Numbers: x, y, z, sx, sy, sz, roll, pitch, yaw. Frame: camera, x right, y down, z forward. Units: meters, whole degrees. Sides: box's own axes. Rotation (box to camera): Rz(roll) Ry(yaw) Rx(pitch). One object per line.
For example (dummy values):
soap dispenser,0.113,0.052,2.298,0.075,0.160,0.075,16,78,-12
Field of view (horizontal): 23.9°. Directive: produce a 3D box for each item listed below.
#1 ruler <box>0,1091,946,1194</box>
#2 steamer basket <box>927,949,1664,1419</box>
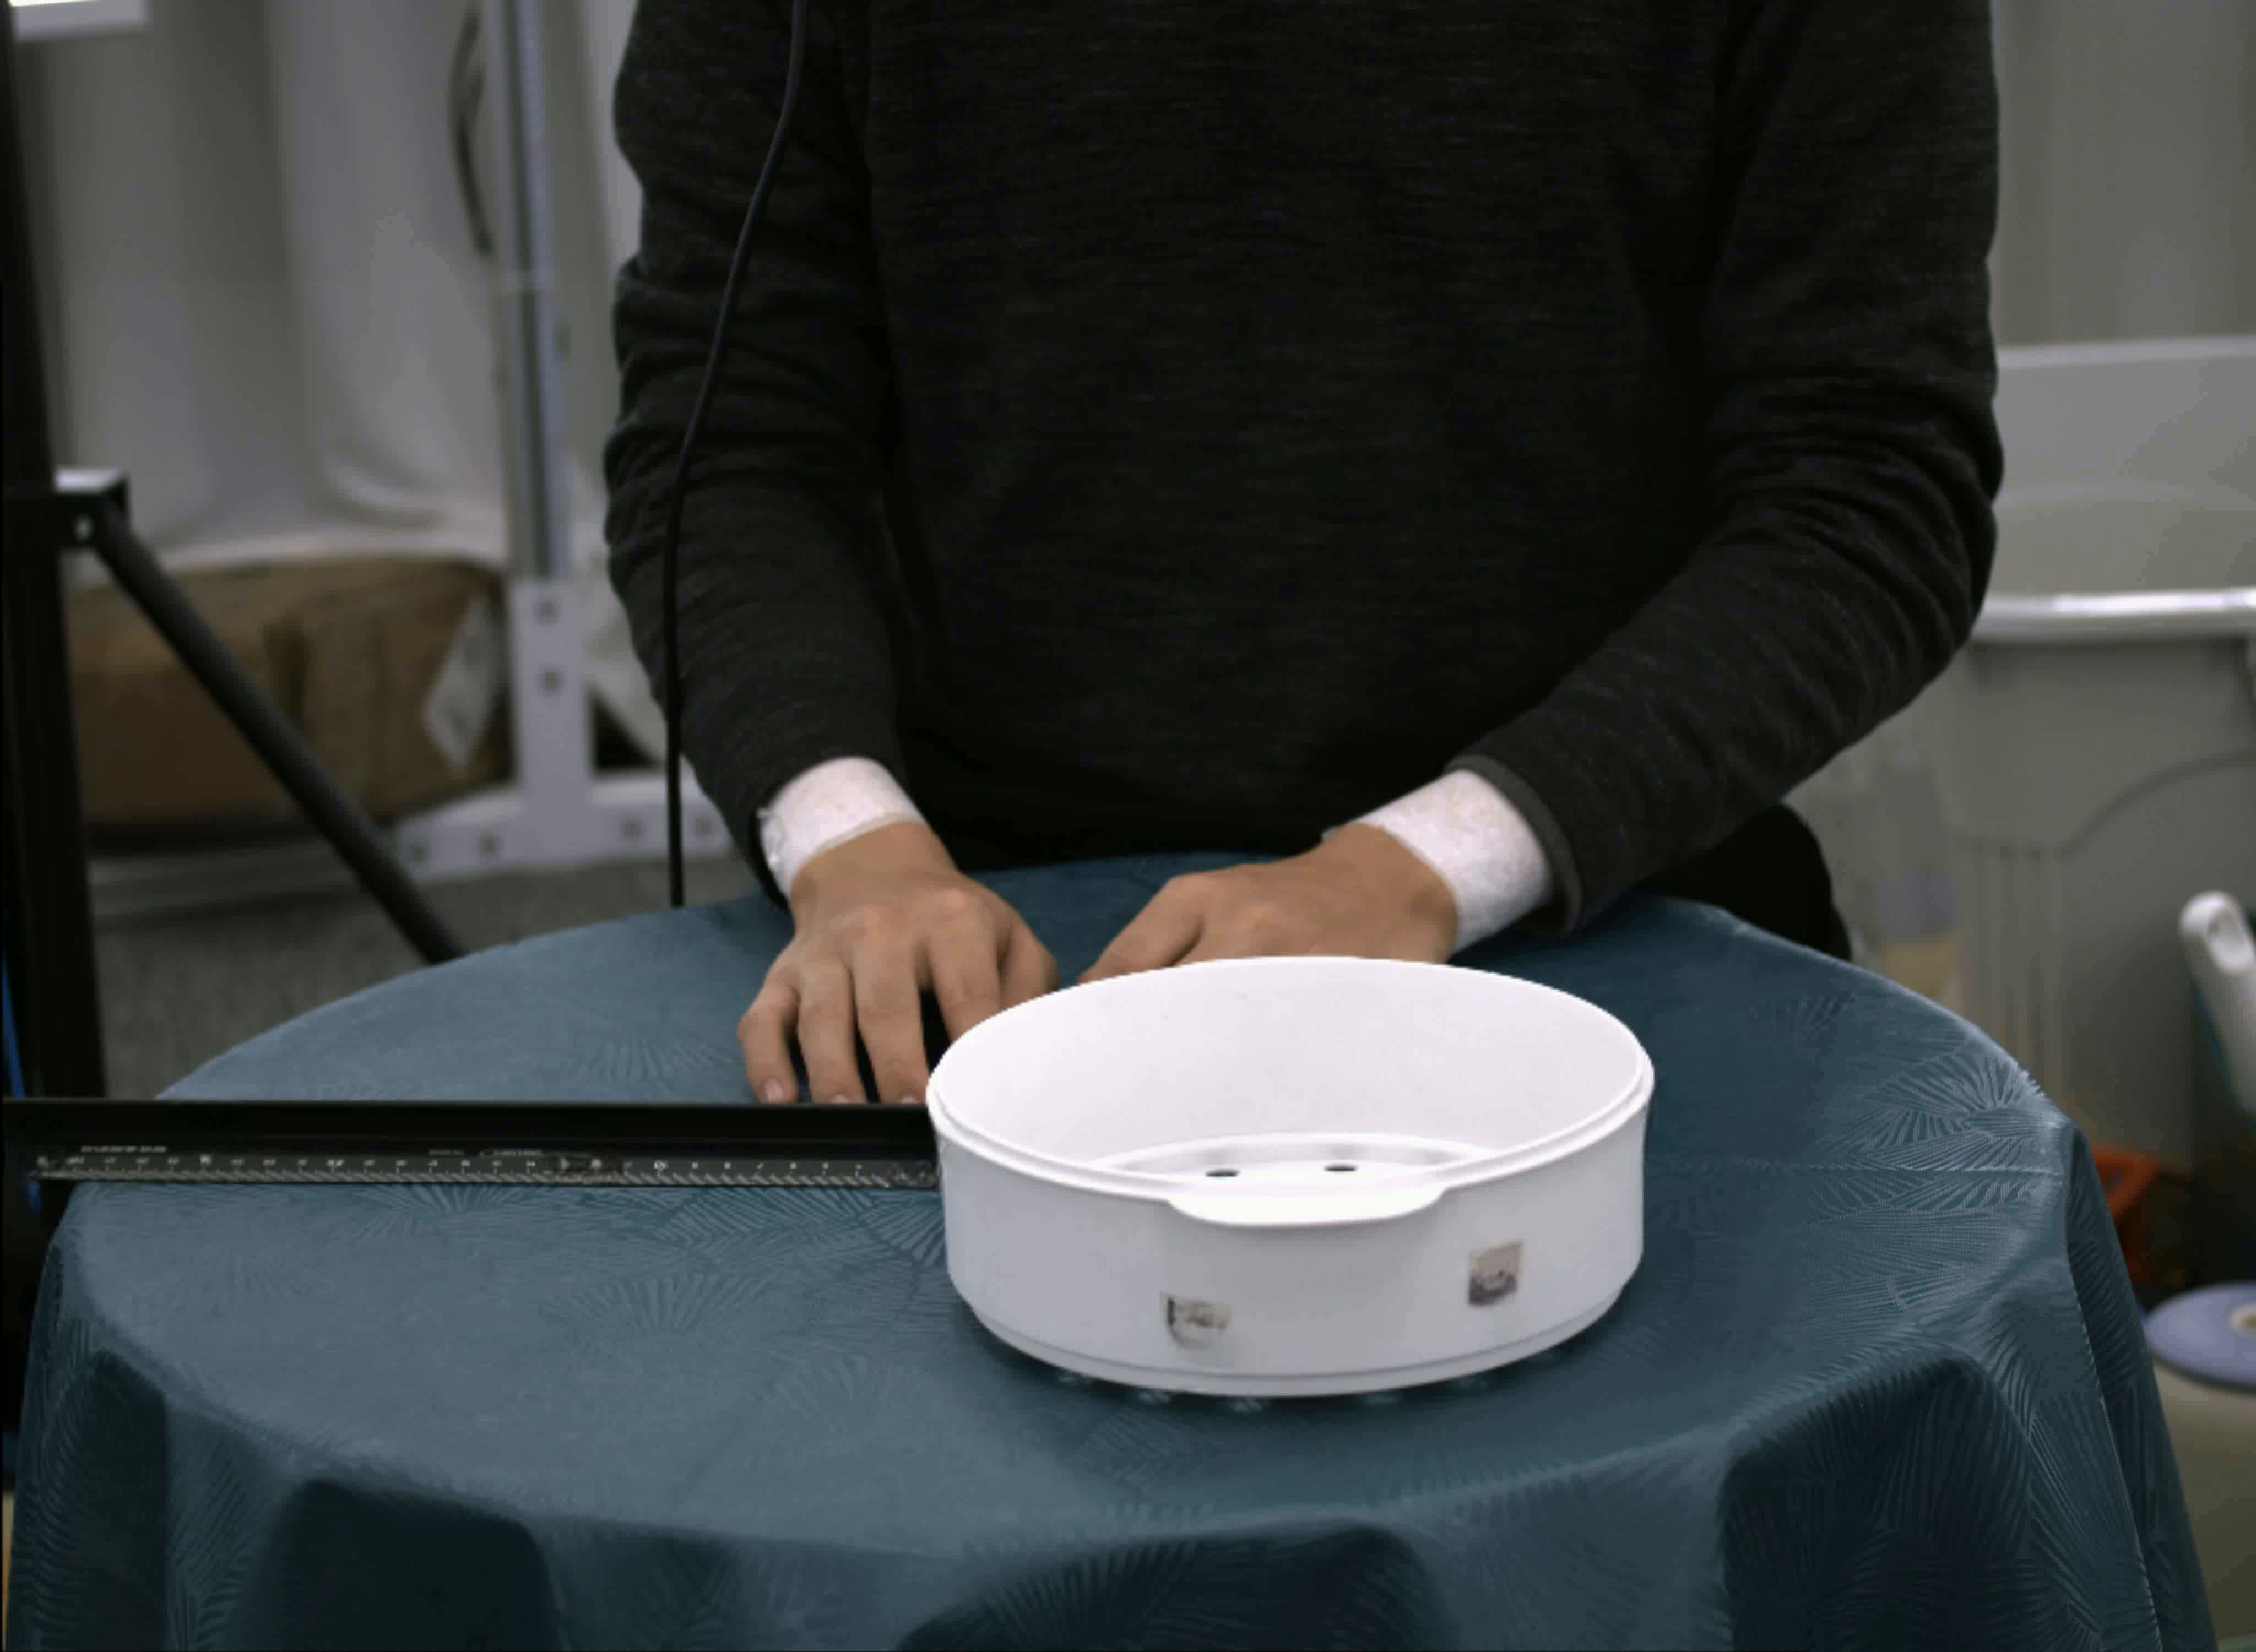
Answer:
ruler,-0.193,0.095,1.607,0.313,0.017,0.039,0,19,10
steamer basket,0.047,0.098,1.459,0.201,0.069,0.232,-2,18,0
